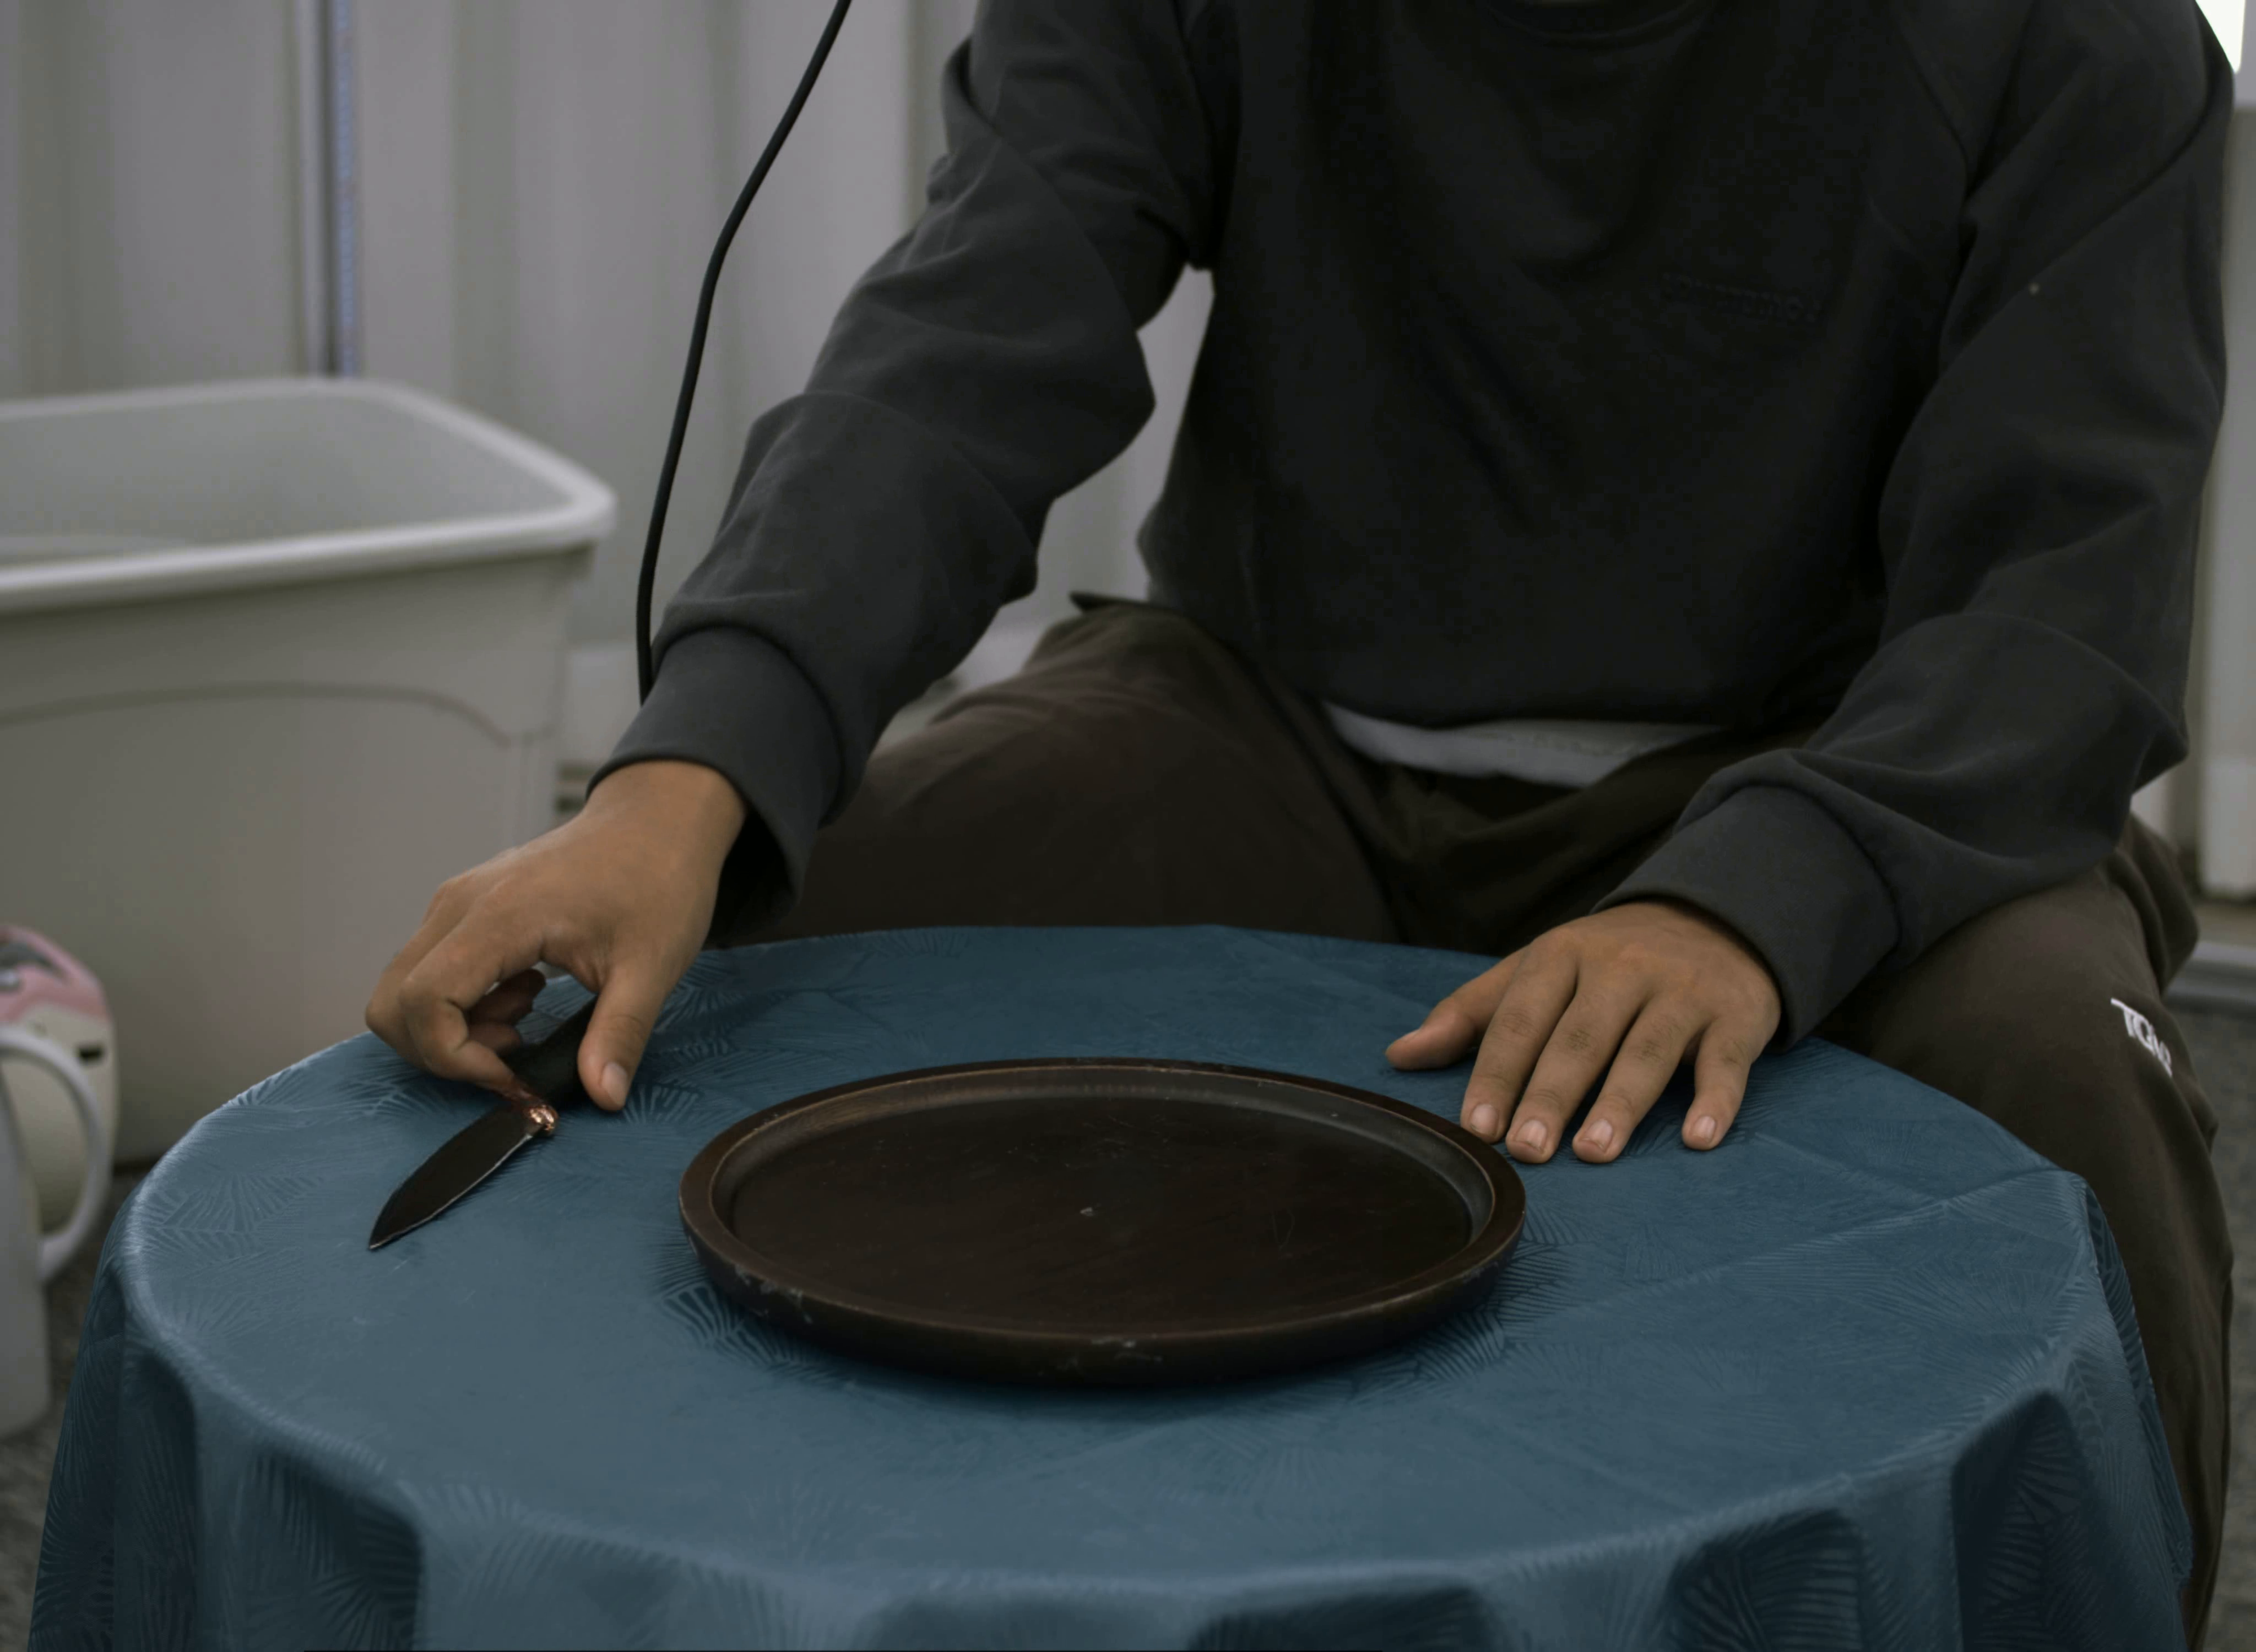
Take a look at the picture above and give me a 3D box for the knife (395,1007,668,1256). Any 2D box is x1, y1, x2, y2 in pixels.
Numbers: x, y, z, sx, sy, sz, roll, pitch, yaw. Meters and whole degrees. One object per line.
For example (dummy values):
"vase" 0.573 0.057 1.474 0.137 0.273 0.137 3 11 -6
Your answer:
"knife" -0.191 0.095 1.661 0.026 0.017 0.225 11 18 13

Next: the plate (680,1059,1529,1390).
"plate" -0.007 0.116 1.569 0.254 0.029 0.253 0 14 1
